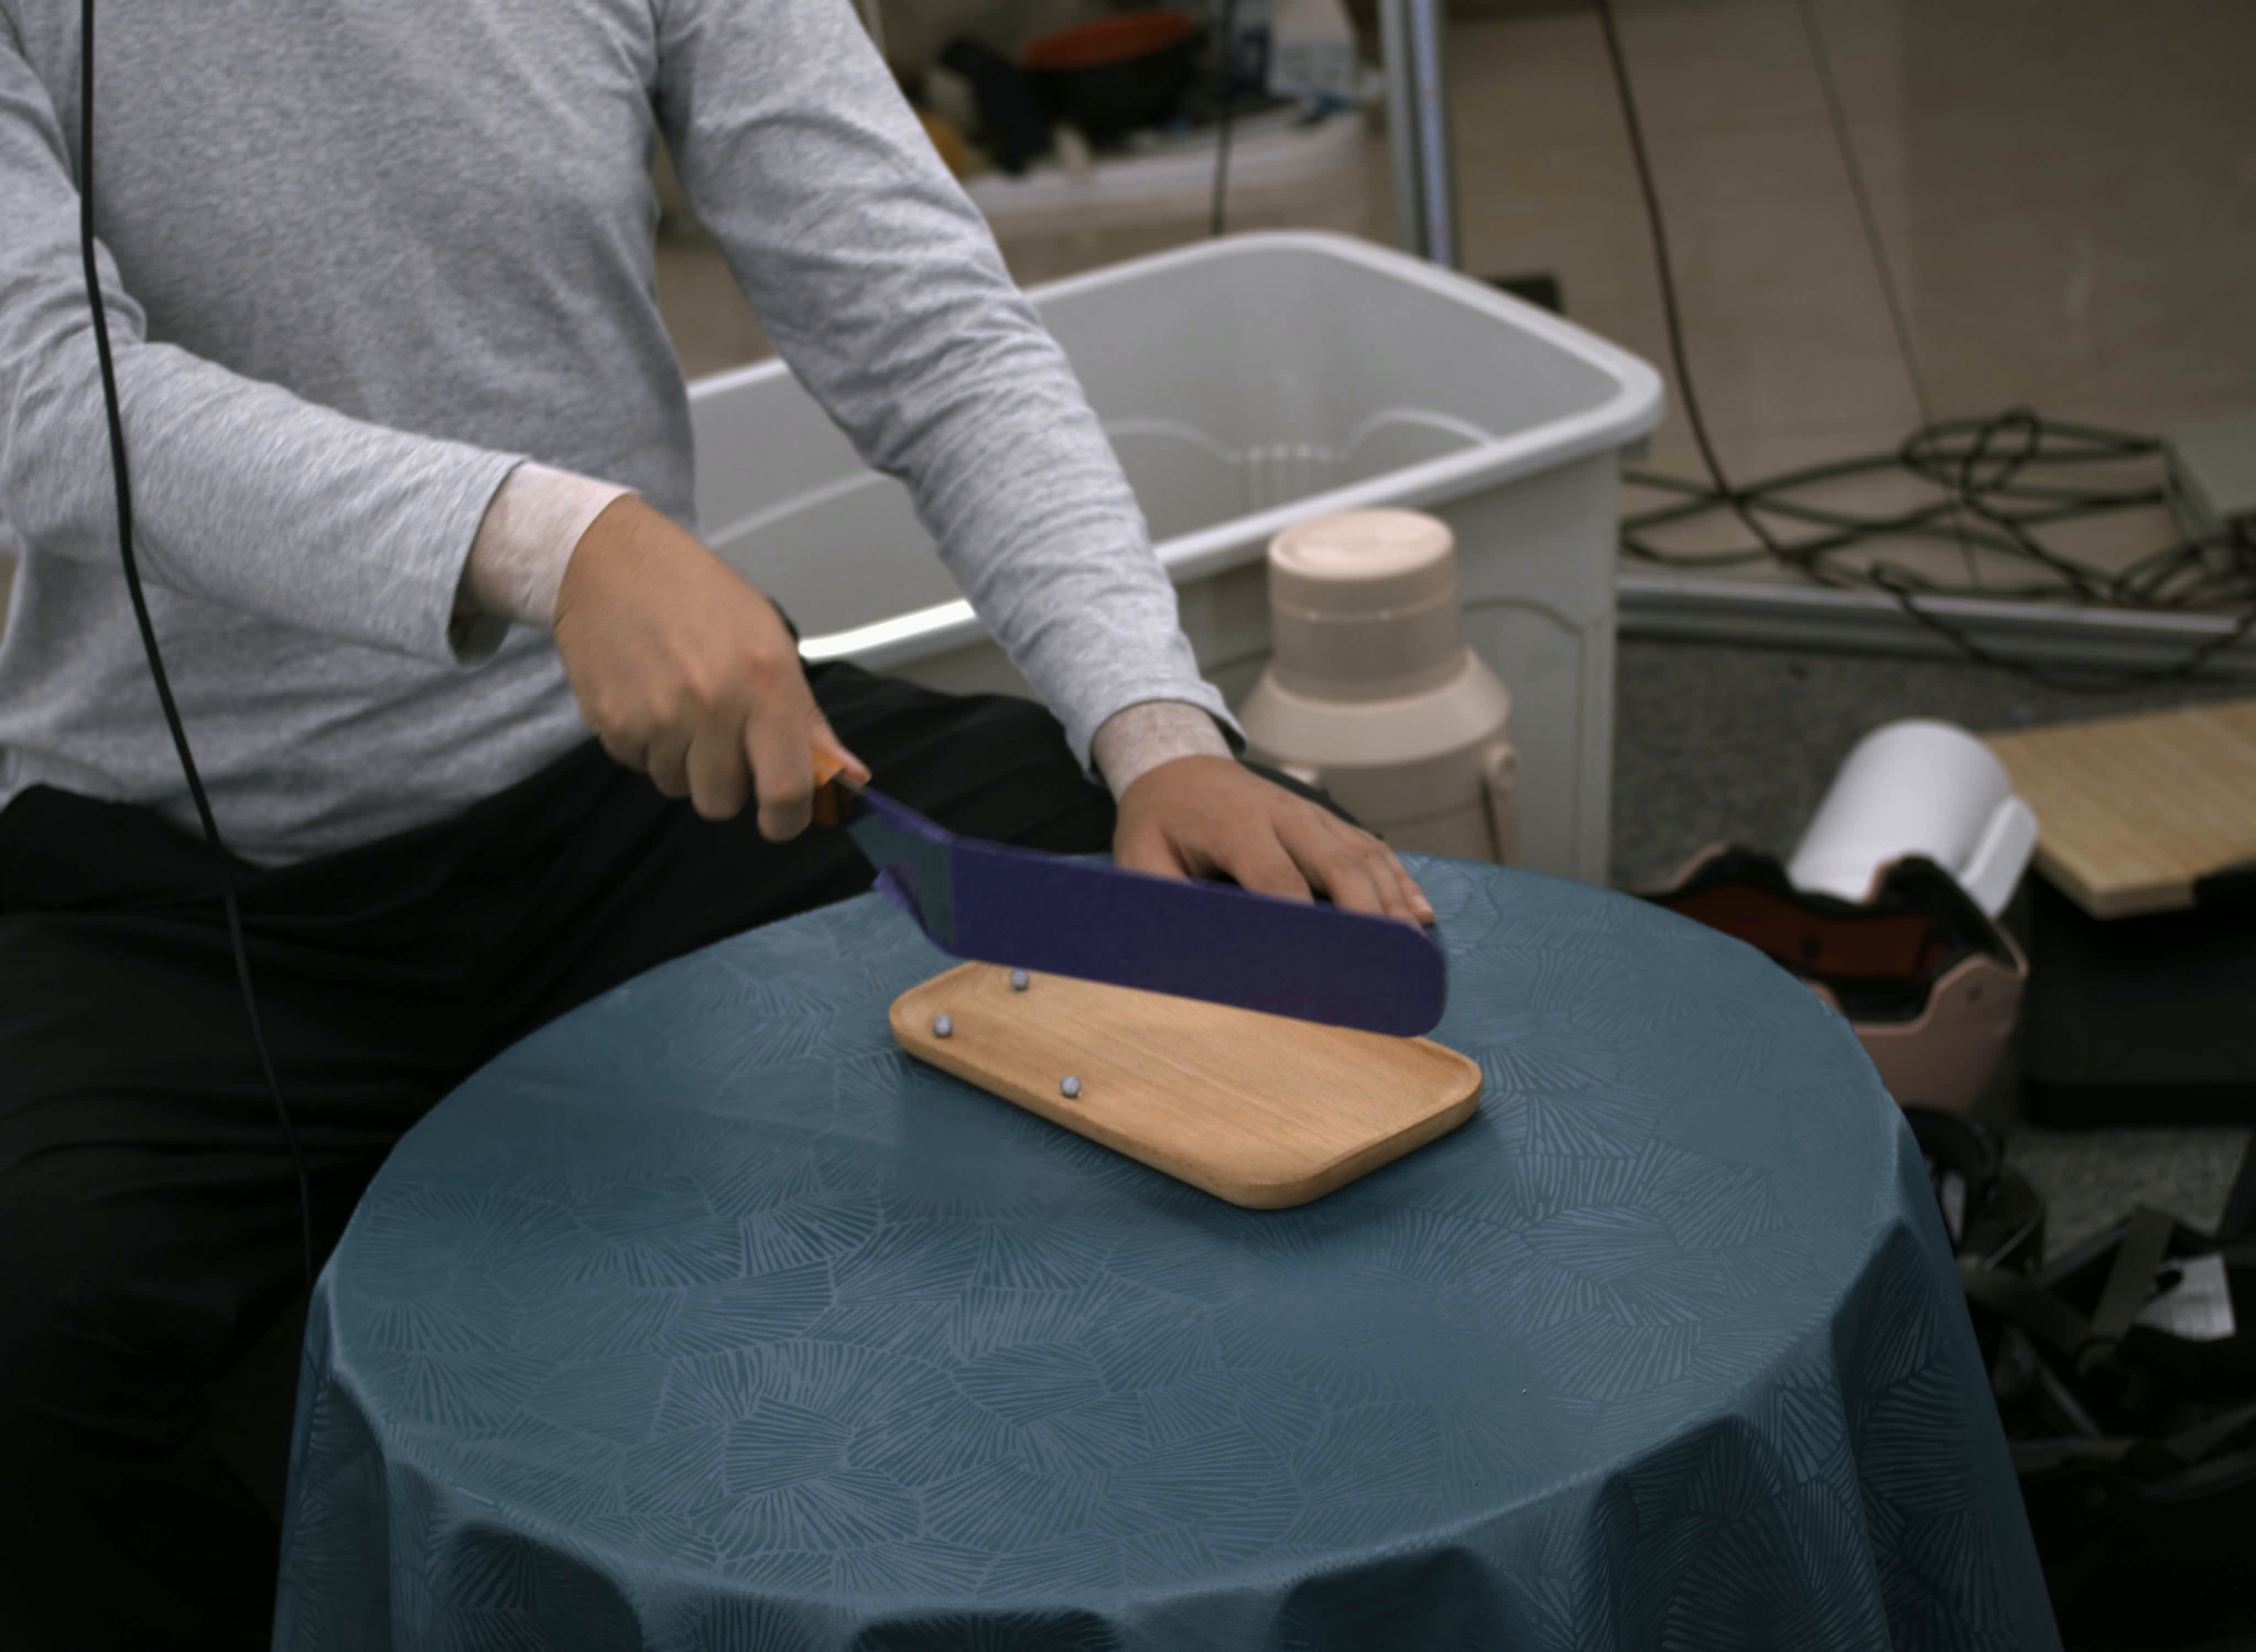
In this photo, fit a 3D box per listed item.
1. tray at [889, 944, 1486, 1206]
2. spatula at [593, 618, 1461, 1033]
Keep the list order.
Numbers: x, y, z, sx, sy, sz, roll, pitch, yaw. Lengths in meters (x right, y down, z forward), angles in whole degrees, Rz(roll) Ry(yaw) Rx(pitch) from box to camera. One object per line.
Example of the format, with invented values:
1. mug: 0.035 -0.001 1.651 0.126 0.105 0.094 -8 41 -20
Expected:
1. tray: 0.021 0.090 2.229 0.129 0.023 0.248 -27 32 -31
2. spatula: -0.043 -0.004 2.153 0.356 0.077 0.086 32 55 22
